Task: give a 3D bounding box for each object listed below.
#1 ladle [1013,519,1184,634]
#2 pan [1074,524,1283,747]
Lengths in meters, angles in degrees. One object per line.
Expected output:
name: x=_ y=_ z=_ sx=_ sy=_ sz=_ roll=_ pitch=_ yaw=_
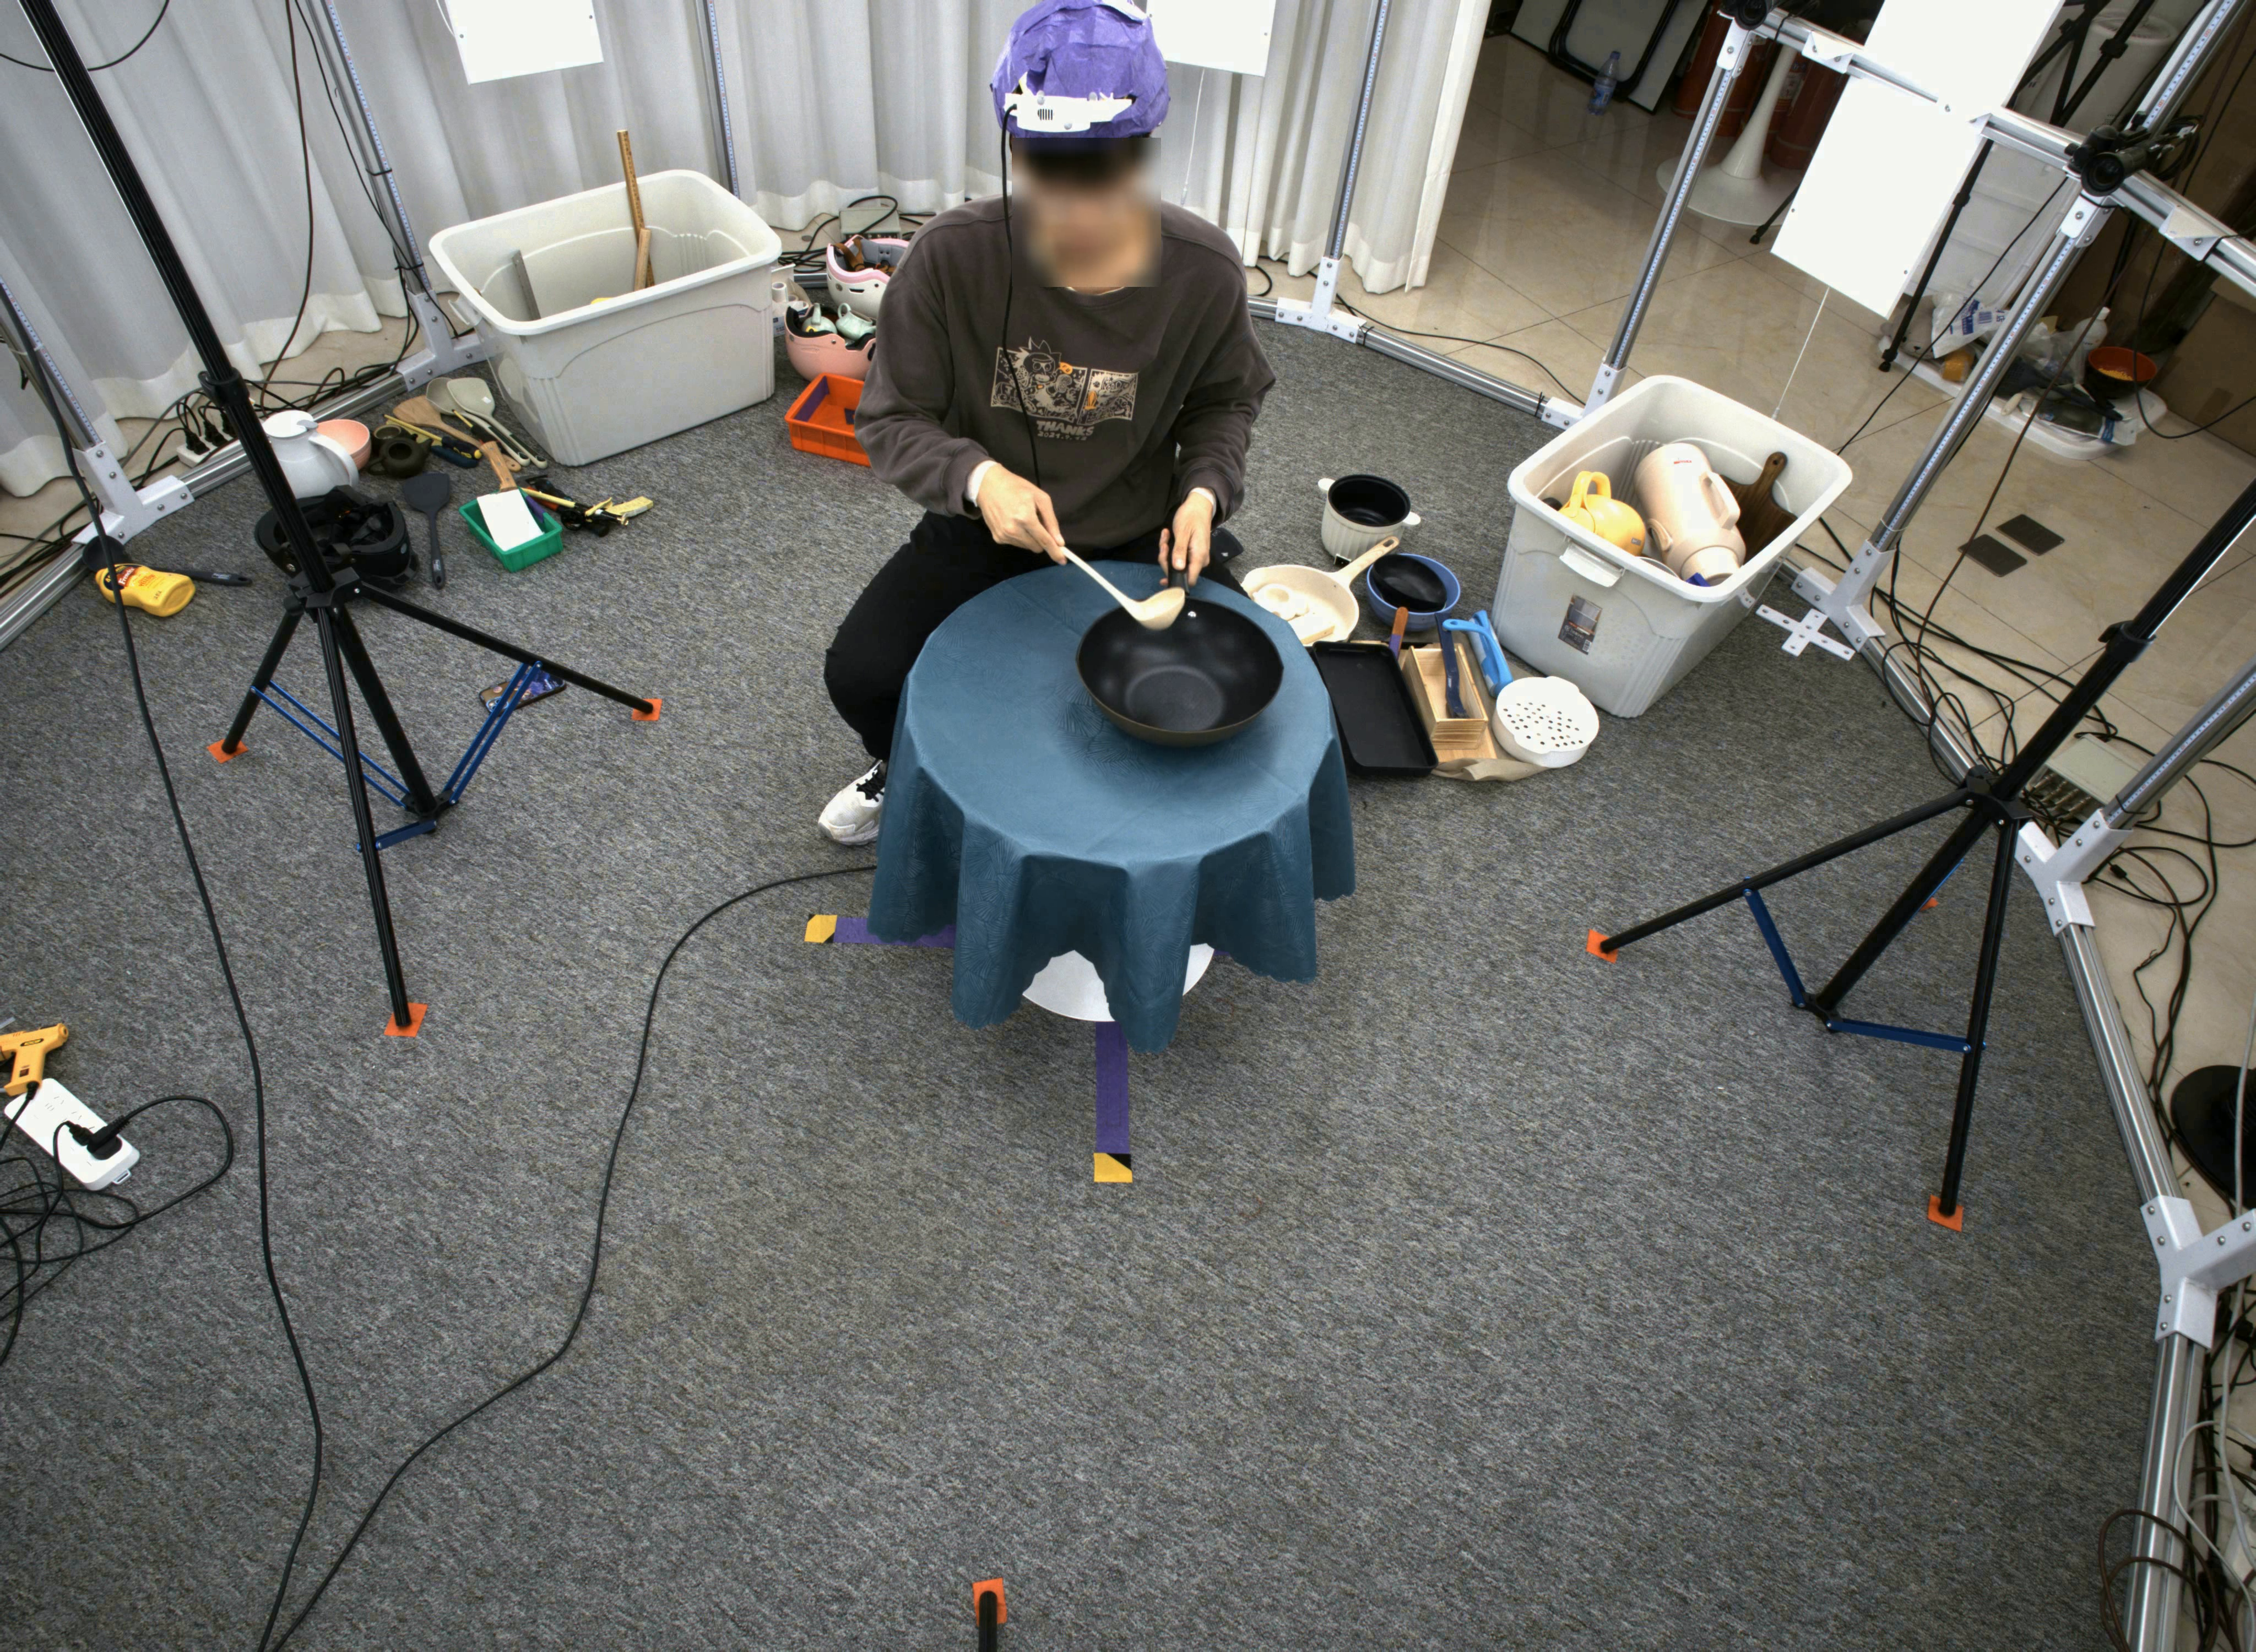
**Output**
ladle: x=-0.035 y=-0.354 z=1.736 sx=0.252 sy=0.072 sz=0.073 roll=36 pitch=46 yaw=-11
pan: x=0.070 y=-0.270 z=1.852 sx=0.288 sy=0.085 sz=0.475 roll=3 pitch=47 yaw=-1
